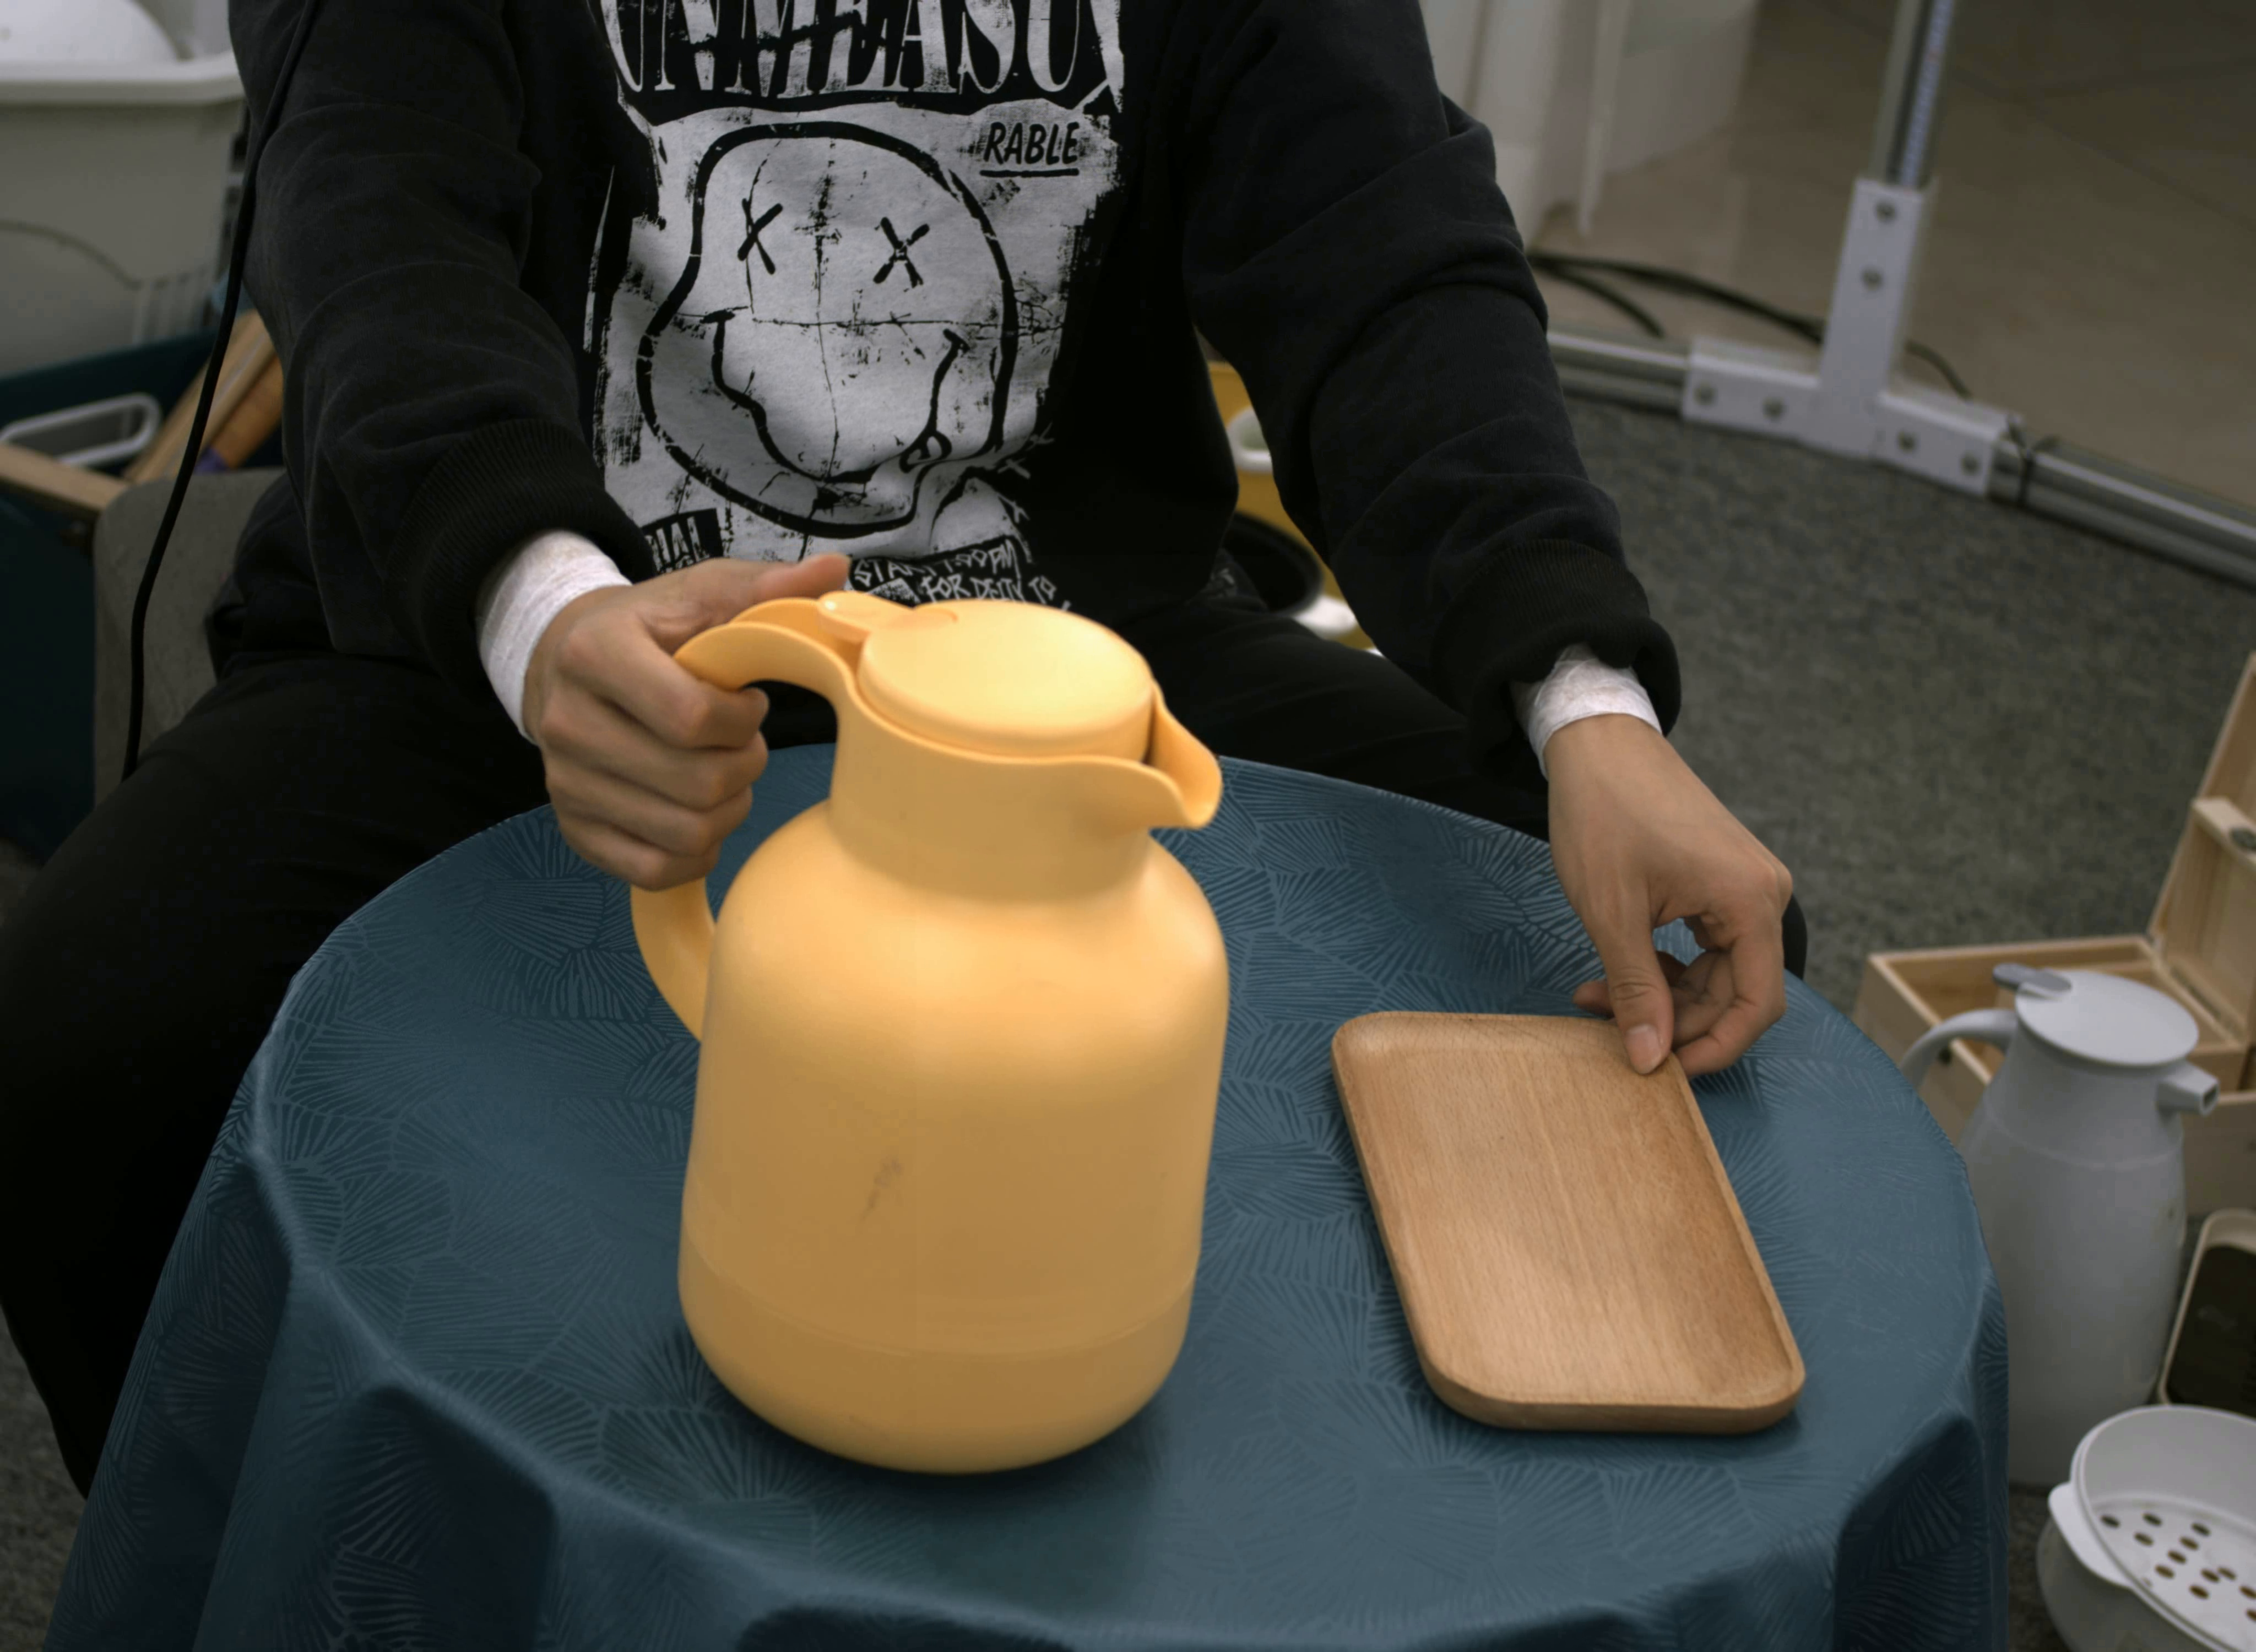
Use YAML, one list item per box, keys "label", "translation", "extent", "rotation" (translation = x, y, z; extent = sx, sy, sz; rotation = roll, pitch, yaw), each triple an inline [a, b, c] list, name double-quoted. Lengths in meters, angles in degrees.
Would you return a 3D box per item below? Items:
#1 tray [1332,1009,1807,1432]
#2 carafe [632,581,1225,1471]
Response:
- label: "tray"
  translation: [0.145, 0.131, 1.804]
  extent: [0.130, 0.023, 0.252]
  rotation: [5, 26, -9]
- label: "carafe"
  translation: [-0.067, 0.051, 1.644]
  extent: [0.203, 0.260, 0.163]
  rotation: [24, 29, 27]
